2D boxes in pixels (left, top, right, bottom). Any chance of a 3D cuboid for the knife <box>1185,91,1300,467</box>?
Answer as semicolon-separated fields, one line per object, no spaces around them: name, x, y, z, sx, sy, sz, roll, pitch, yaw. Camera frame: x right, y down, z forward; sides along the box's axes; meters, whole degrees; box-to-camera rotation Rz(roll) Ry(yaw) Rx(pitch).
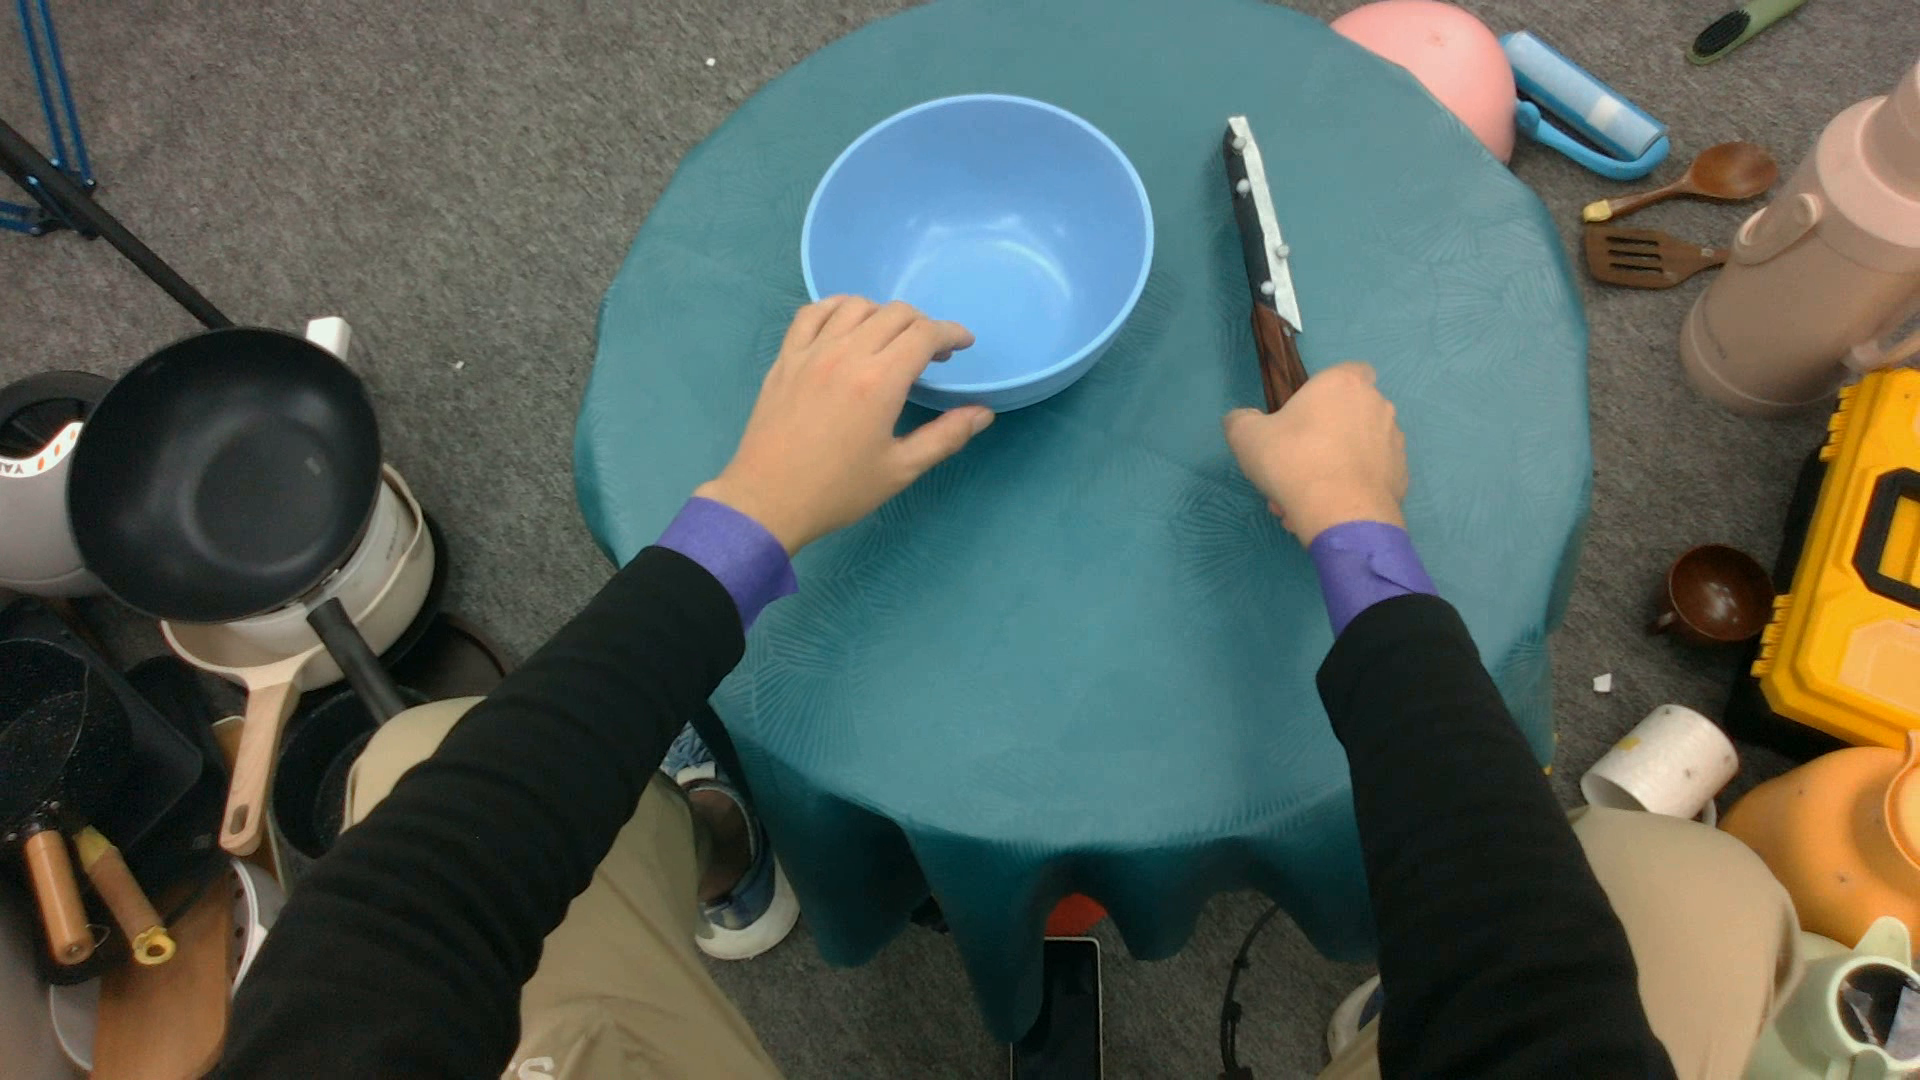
knife;0.165;-0.166;0.822;0.020;0.050;0.290;-30;52;37

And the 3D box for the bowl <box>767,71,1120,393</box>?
bowl;-0.008;-0.164;0.806;0.196;0.095;0.197;-1;69;2
